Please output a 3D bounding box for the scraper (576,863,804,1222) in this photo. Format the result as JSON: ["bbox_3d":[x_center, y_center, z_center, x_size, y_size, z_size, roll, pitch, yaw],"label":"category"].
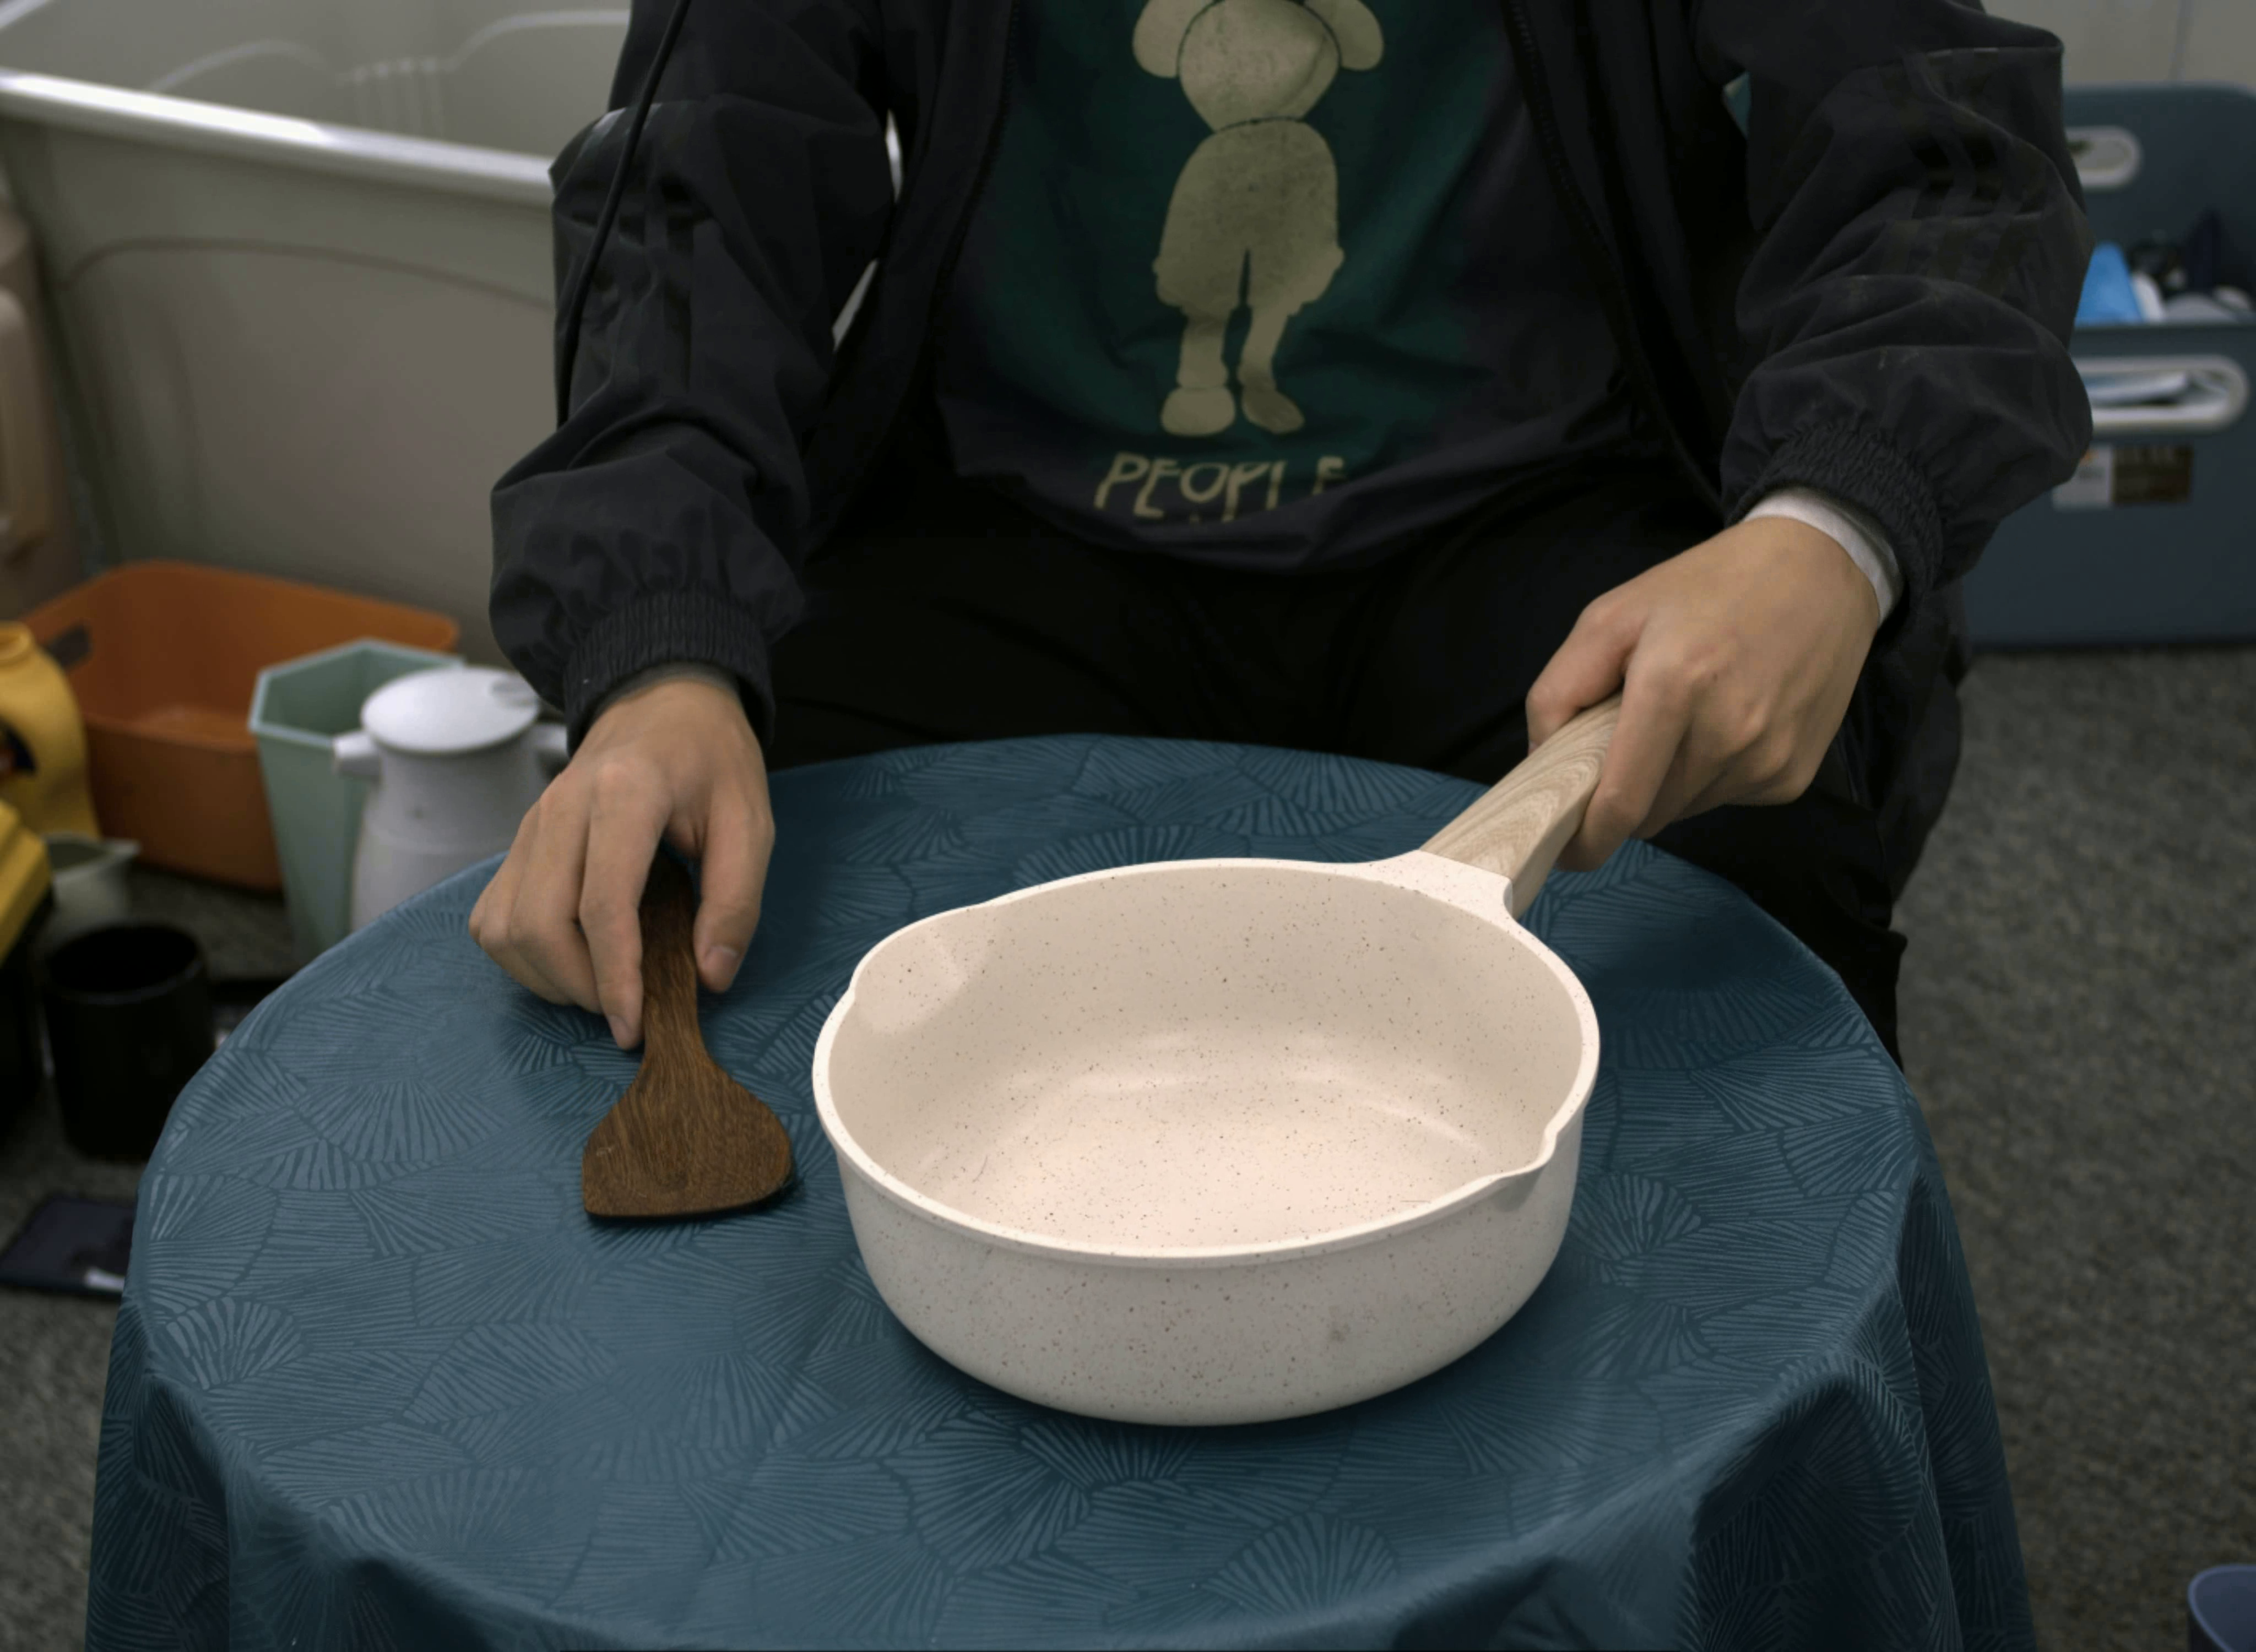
[{"bbox_3d":[-0.157,0.074,1.940,0.075,0.010,0.214,-4,34,-6],"label":"scraper"}]

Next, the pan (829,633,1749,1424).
[{"bbox_3d":[0.087,0.062,1.859,0.262,0.101,0.441,15,32,34],"label":"pan"}]
